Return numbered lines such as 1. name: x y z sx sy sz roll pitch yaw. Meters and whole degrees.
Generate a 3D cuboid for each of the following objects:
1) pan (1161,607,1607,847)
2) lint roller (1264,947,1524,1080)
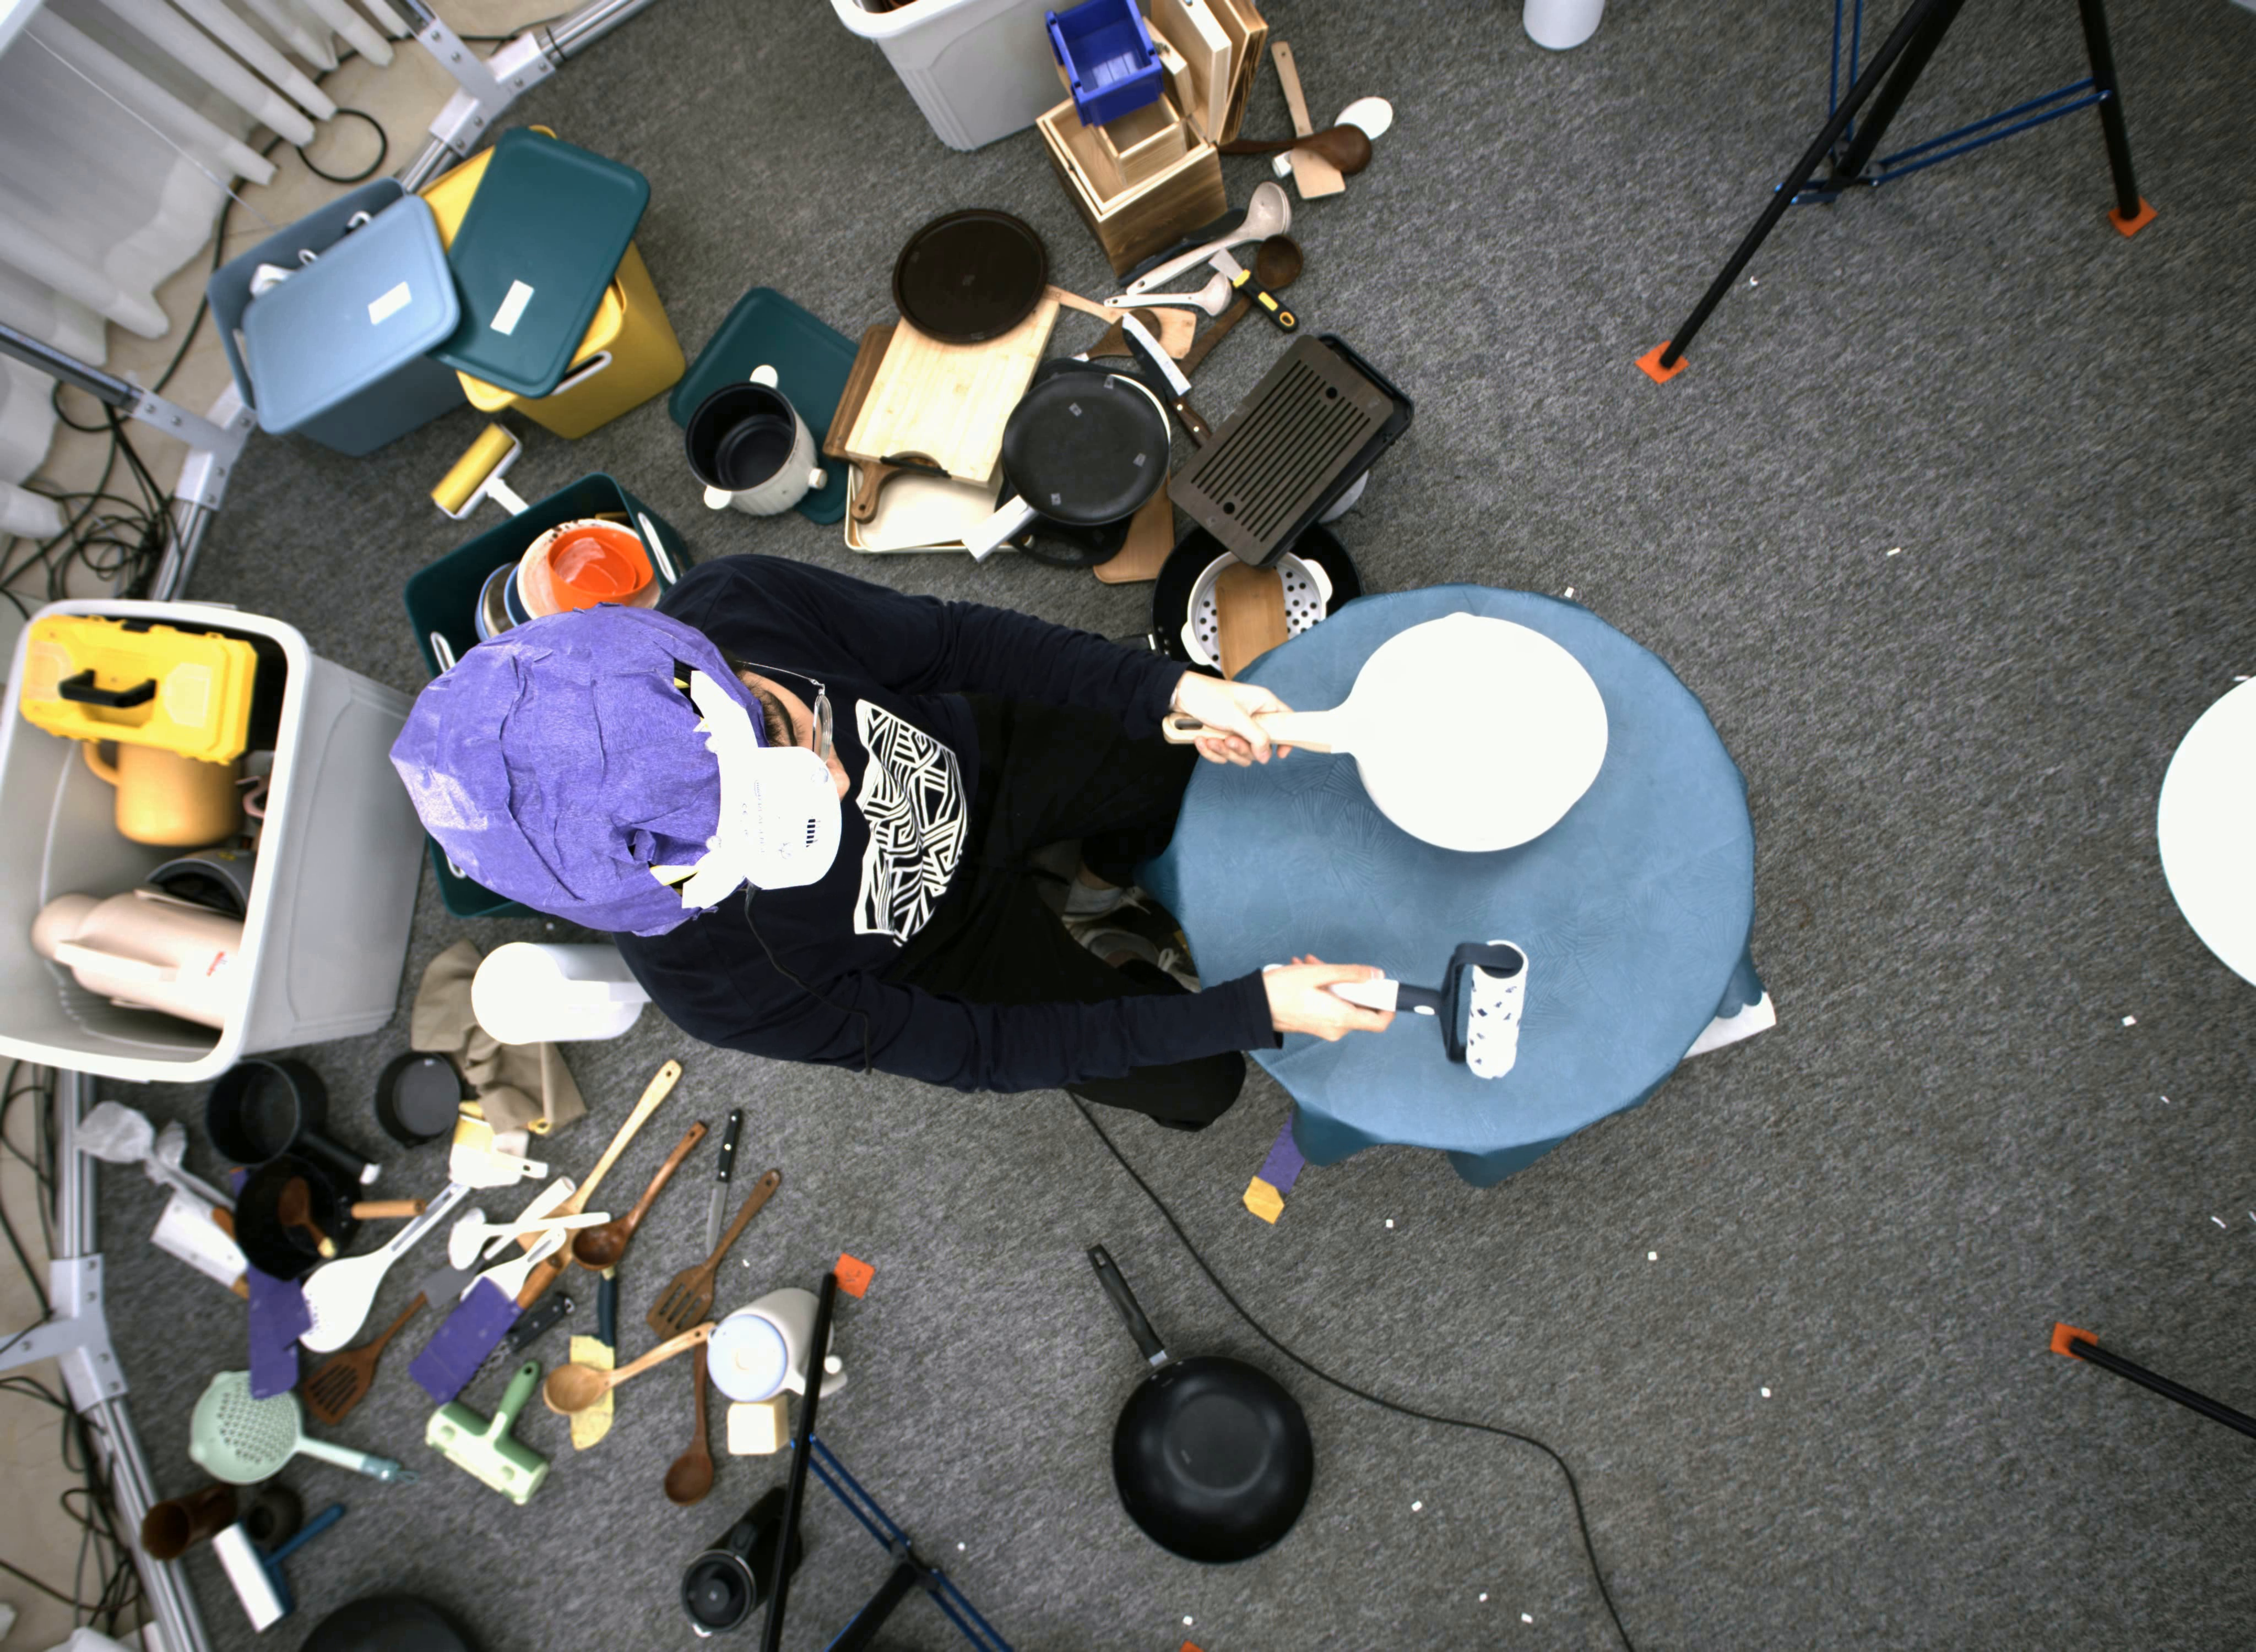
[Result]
1. pan: 0.253 -0.090 1.381 0.436 0.104 0.258 -4 64 4
2. lint roller: 0.251 0.167 1.336 0.248 0.180 0.049 7 51 17
